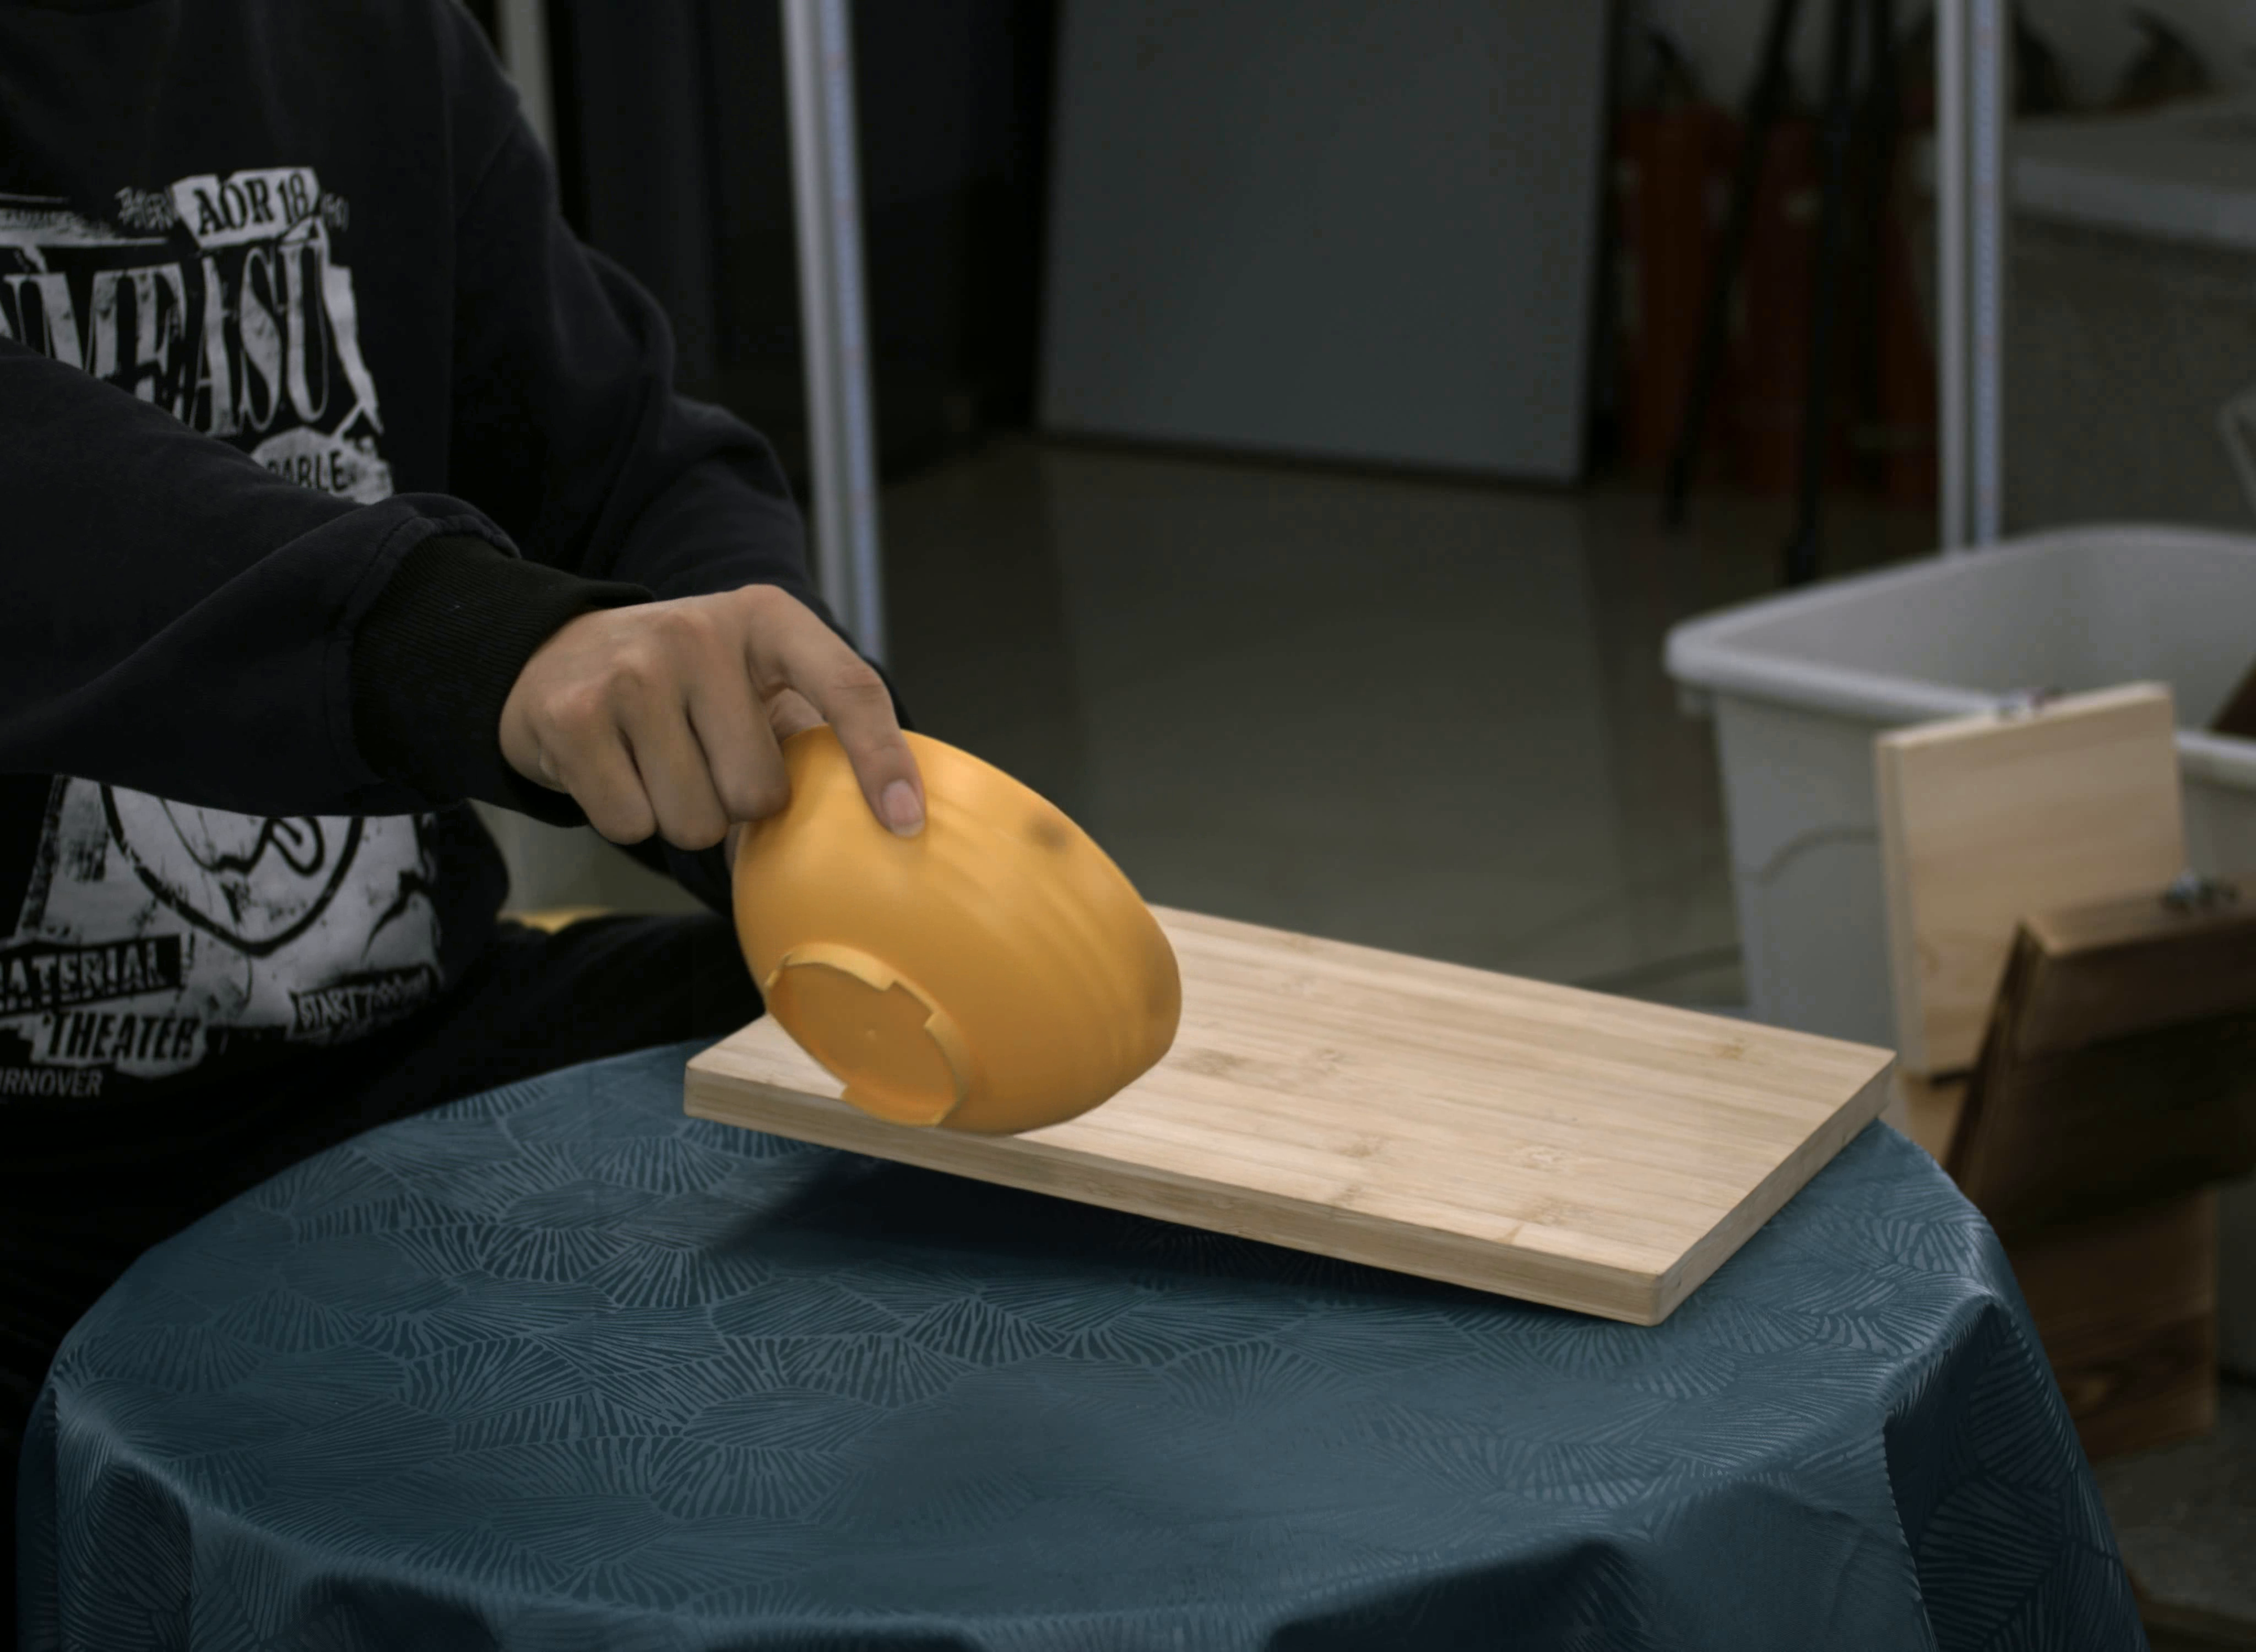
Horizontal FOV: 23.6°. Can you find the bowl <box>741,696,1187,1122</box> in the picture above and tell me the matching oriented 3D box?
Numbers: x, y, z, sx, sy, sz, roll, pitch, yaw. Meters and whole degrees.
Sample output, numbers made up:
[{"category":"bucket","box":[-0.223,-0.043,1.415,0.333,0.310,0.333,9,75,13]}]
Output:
[{"category":"bowl","box":[-0.058,0.037,1.531,0.146,0.145,0.060,8,46,38]}]

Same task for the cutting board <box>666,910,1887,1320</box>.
[{"category":"cutting board","box":[0.053,0.085,1.783,0.349,0.024,0.247,10,18,23]}]
